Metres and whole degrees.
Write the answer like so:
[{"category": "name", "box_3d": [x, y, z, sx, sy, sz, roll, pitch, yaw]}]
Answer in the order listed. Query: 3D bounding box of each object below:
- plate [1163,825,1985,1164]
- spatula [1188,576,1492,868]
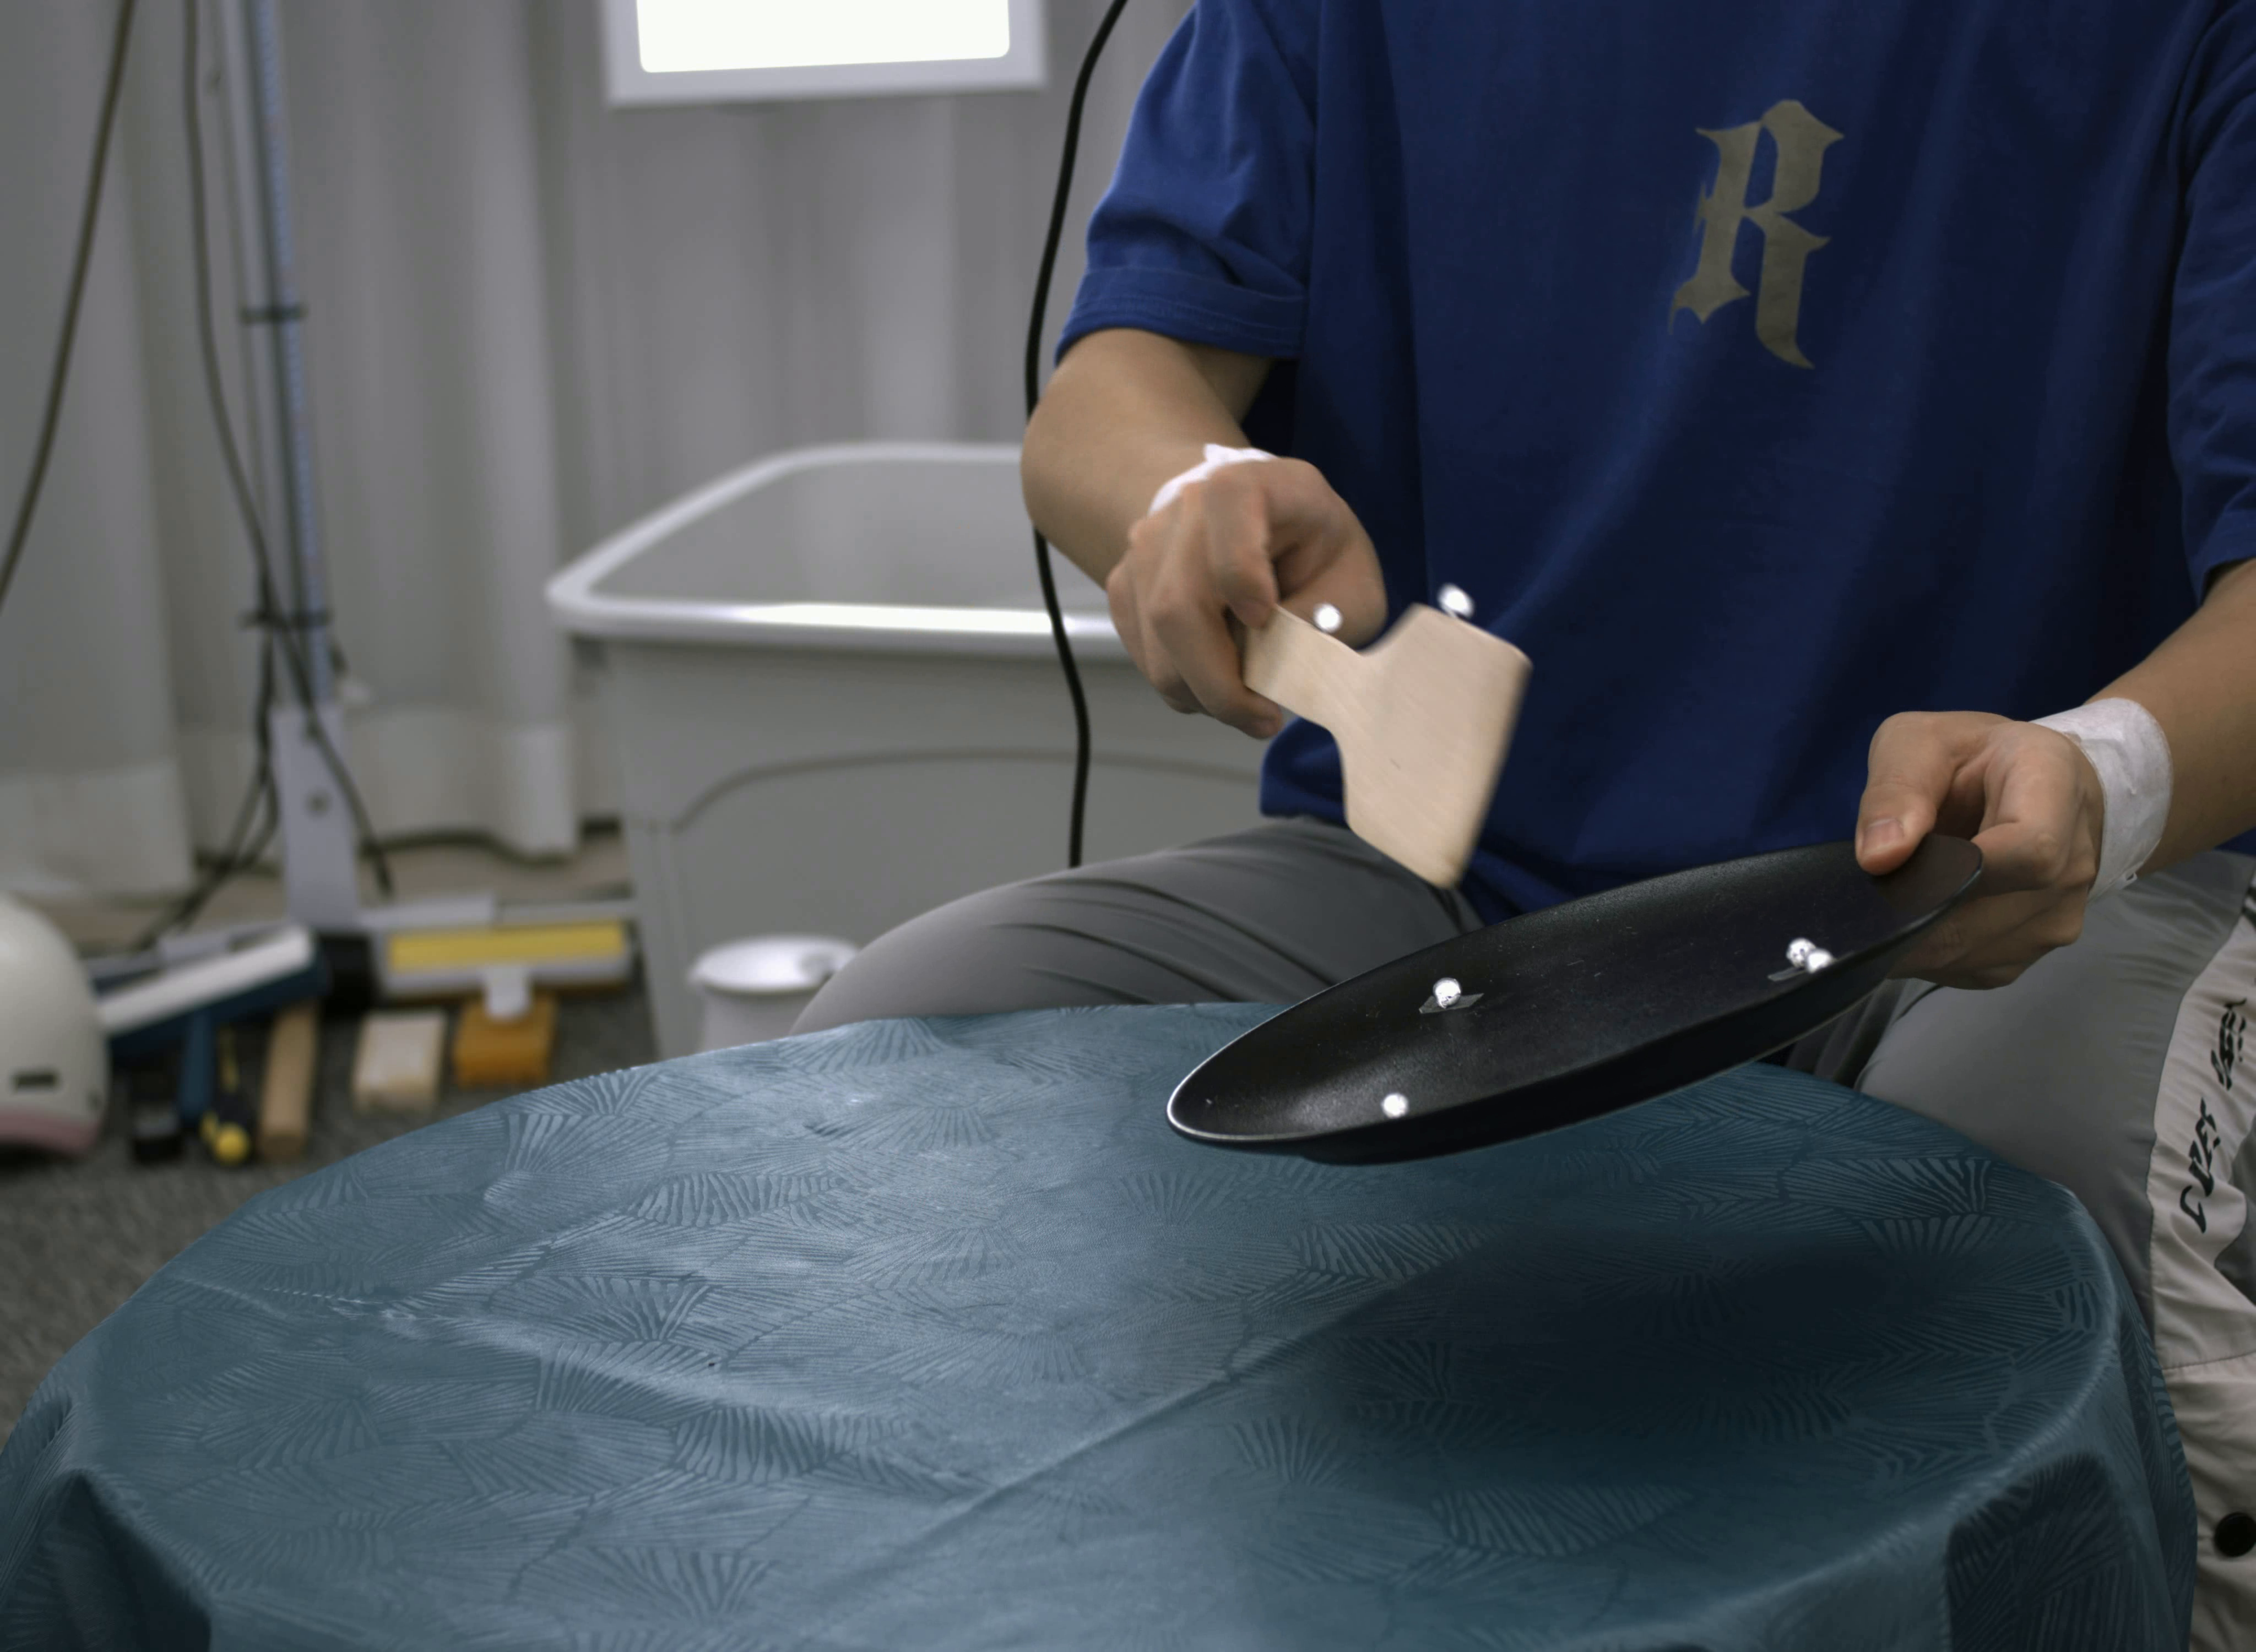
[{"category": "plate", "box_3d": [0.128, 0.052, 1.548, 0.244, 0.023, 0.245, -19, 8, 2]}, {"category": "spatula", "box_3d": [0.056, -0.046, 1.640, 0.010, 0.072, 0.295, 13, 6, -15]}]
